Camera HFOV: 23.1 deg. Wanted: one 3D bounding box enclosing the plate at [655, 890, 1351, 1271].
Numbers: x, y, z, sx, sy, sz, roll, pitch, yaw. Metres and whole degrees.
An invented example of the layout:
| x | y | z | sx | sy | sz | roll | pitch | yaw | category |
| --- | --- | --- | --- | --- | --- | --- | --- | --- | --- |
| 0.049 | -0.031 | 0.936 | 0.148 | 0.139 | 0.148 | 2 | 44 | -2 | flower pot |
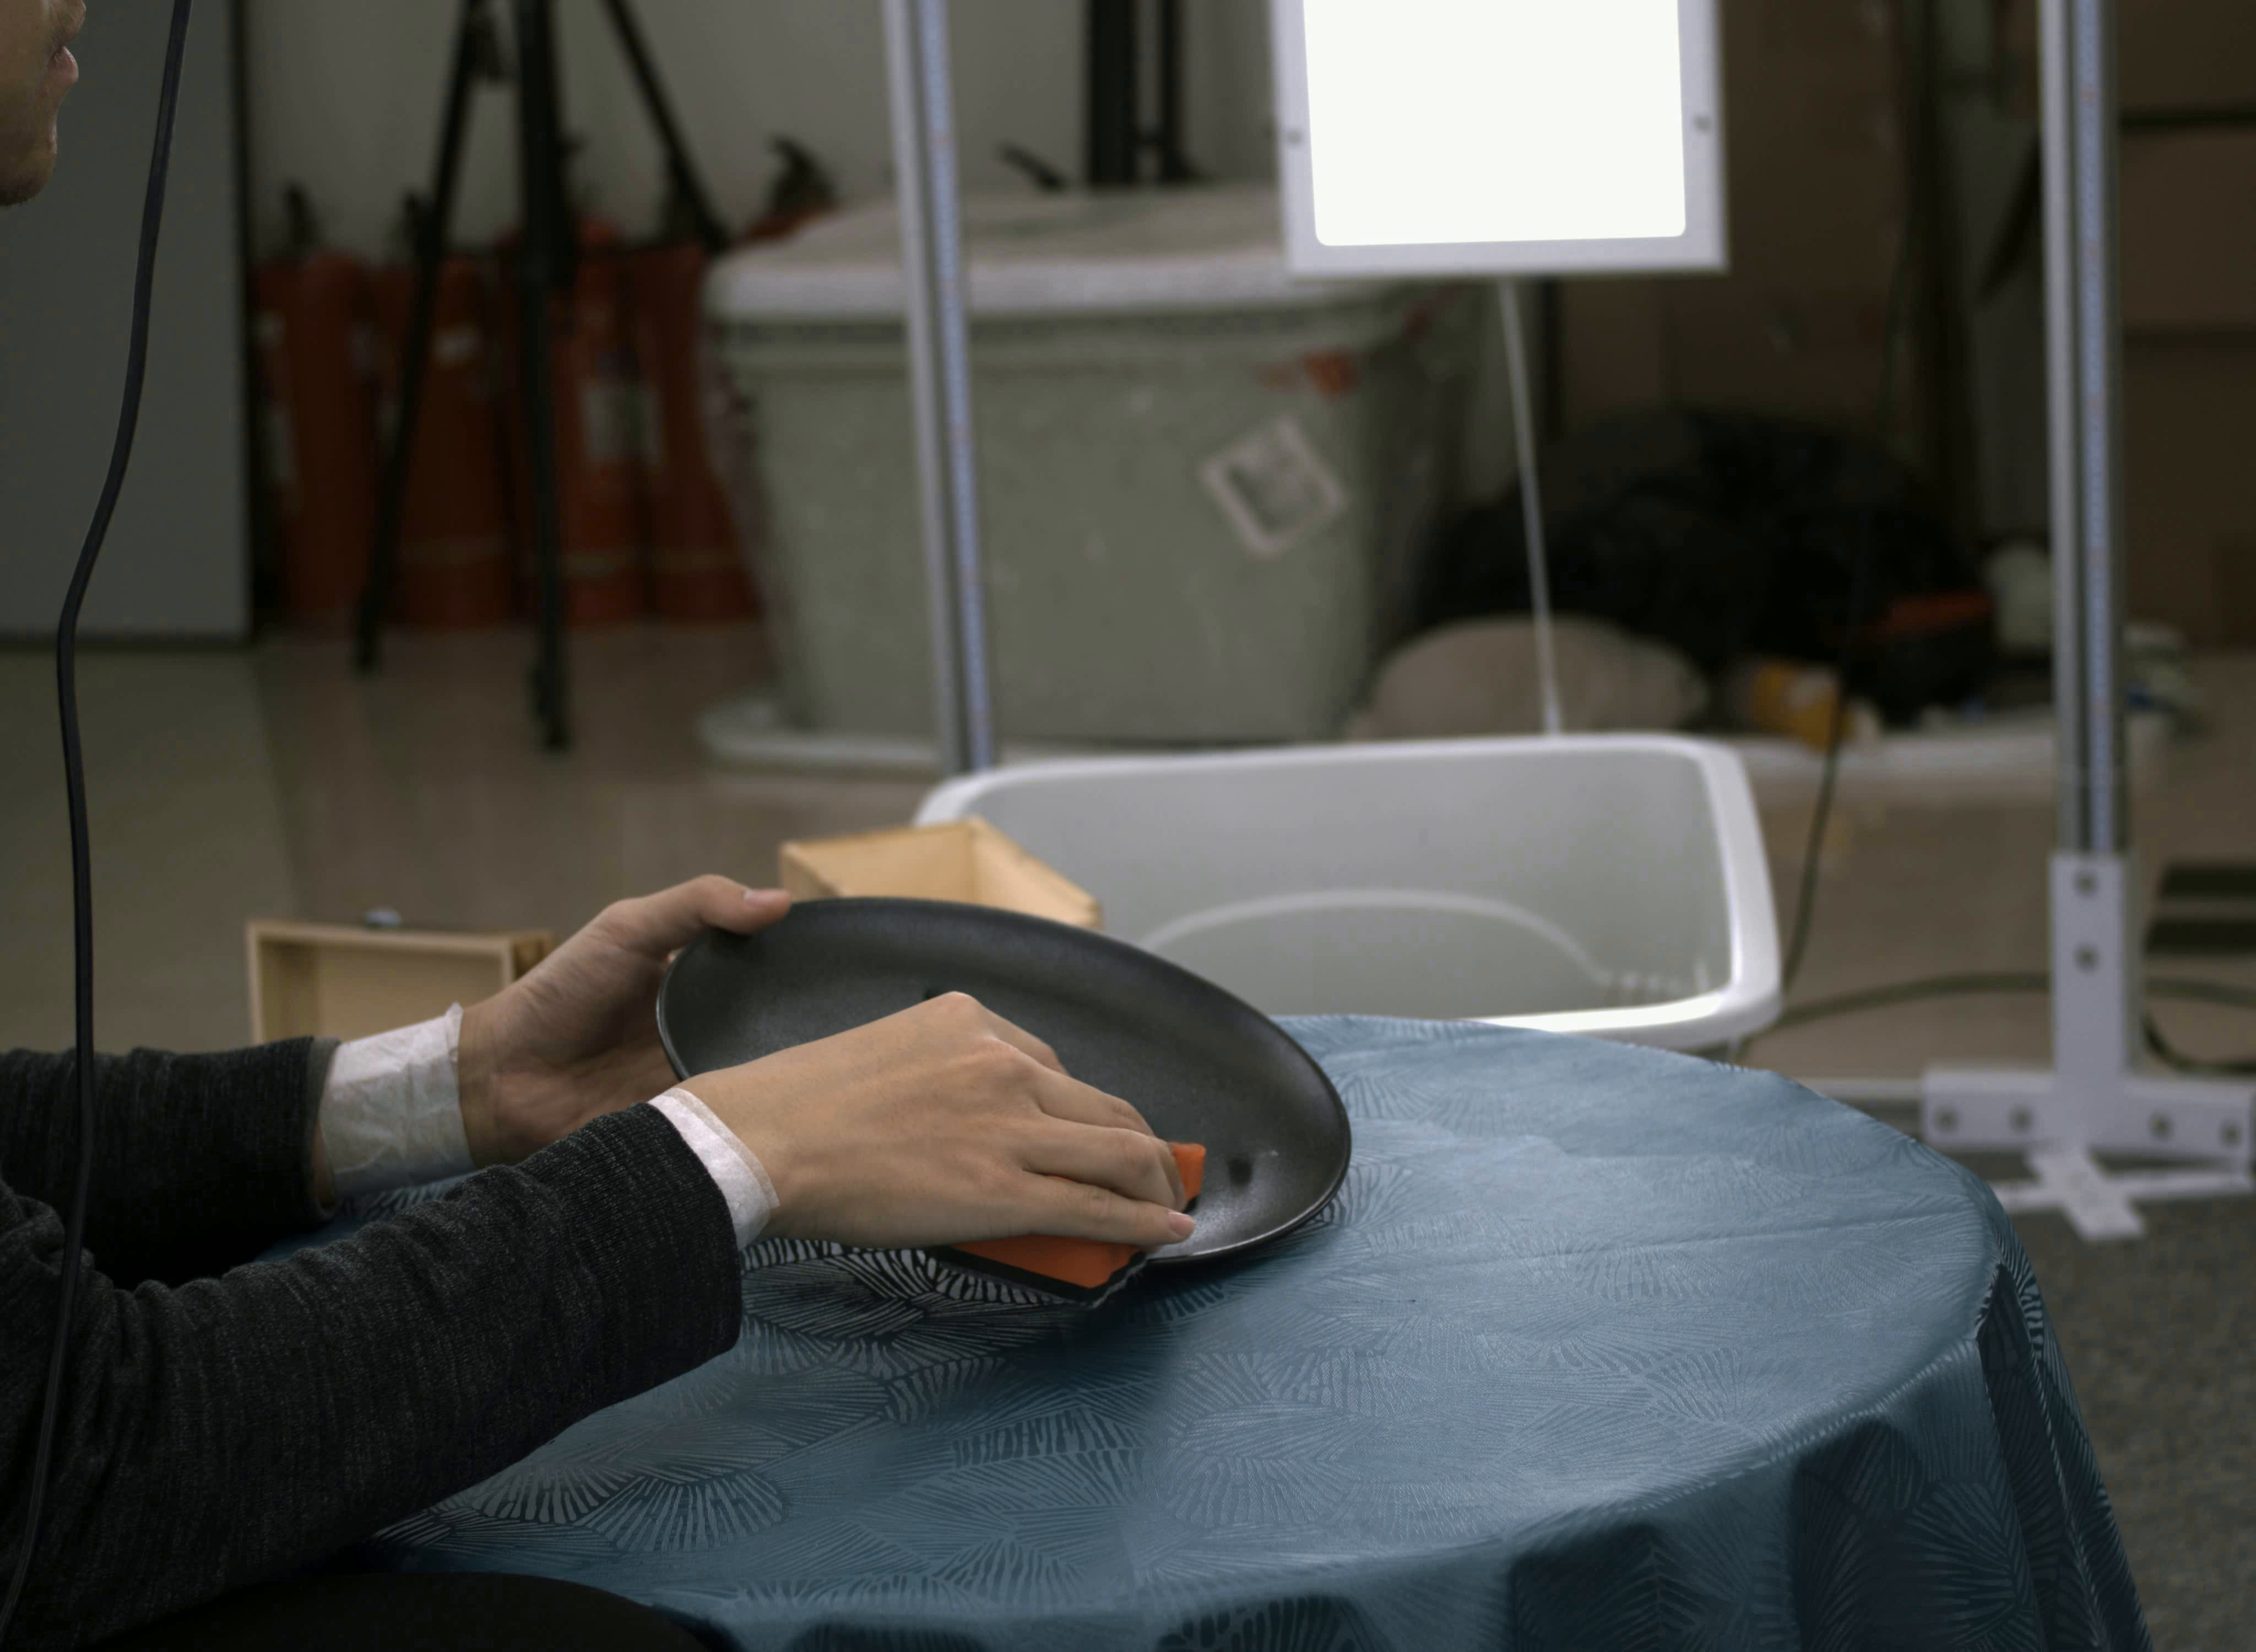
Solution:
| x | y | z | sx | sy | sz | roll | pitch | yaw | category |
| --- | --- | --- | --- | --- | --- | --- | --- | --- | --- |
| -0.044 | 0.091 | 1.881 | 0.242 | 0.023 | 0.244 | 10 | 26 | -6 | plate |

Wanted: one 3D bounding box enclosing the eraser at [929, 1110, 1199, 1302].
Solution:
| x | y | z | sx | sy | sz | roll | pitch | yaw | category |
| --- | --- | --- | --- | --- | --- | --- | --- | --- | --- |
| -0.020 | 0.122 | 1.782 | 0.059 | 0.023 | 0.106 | 12 | 18 | 19 | eraser |
